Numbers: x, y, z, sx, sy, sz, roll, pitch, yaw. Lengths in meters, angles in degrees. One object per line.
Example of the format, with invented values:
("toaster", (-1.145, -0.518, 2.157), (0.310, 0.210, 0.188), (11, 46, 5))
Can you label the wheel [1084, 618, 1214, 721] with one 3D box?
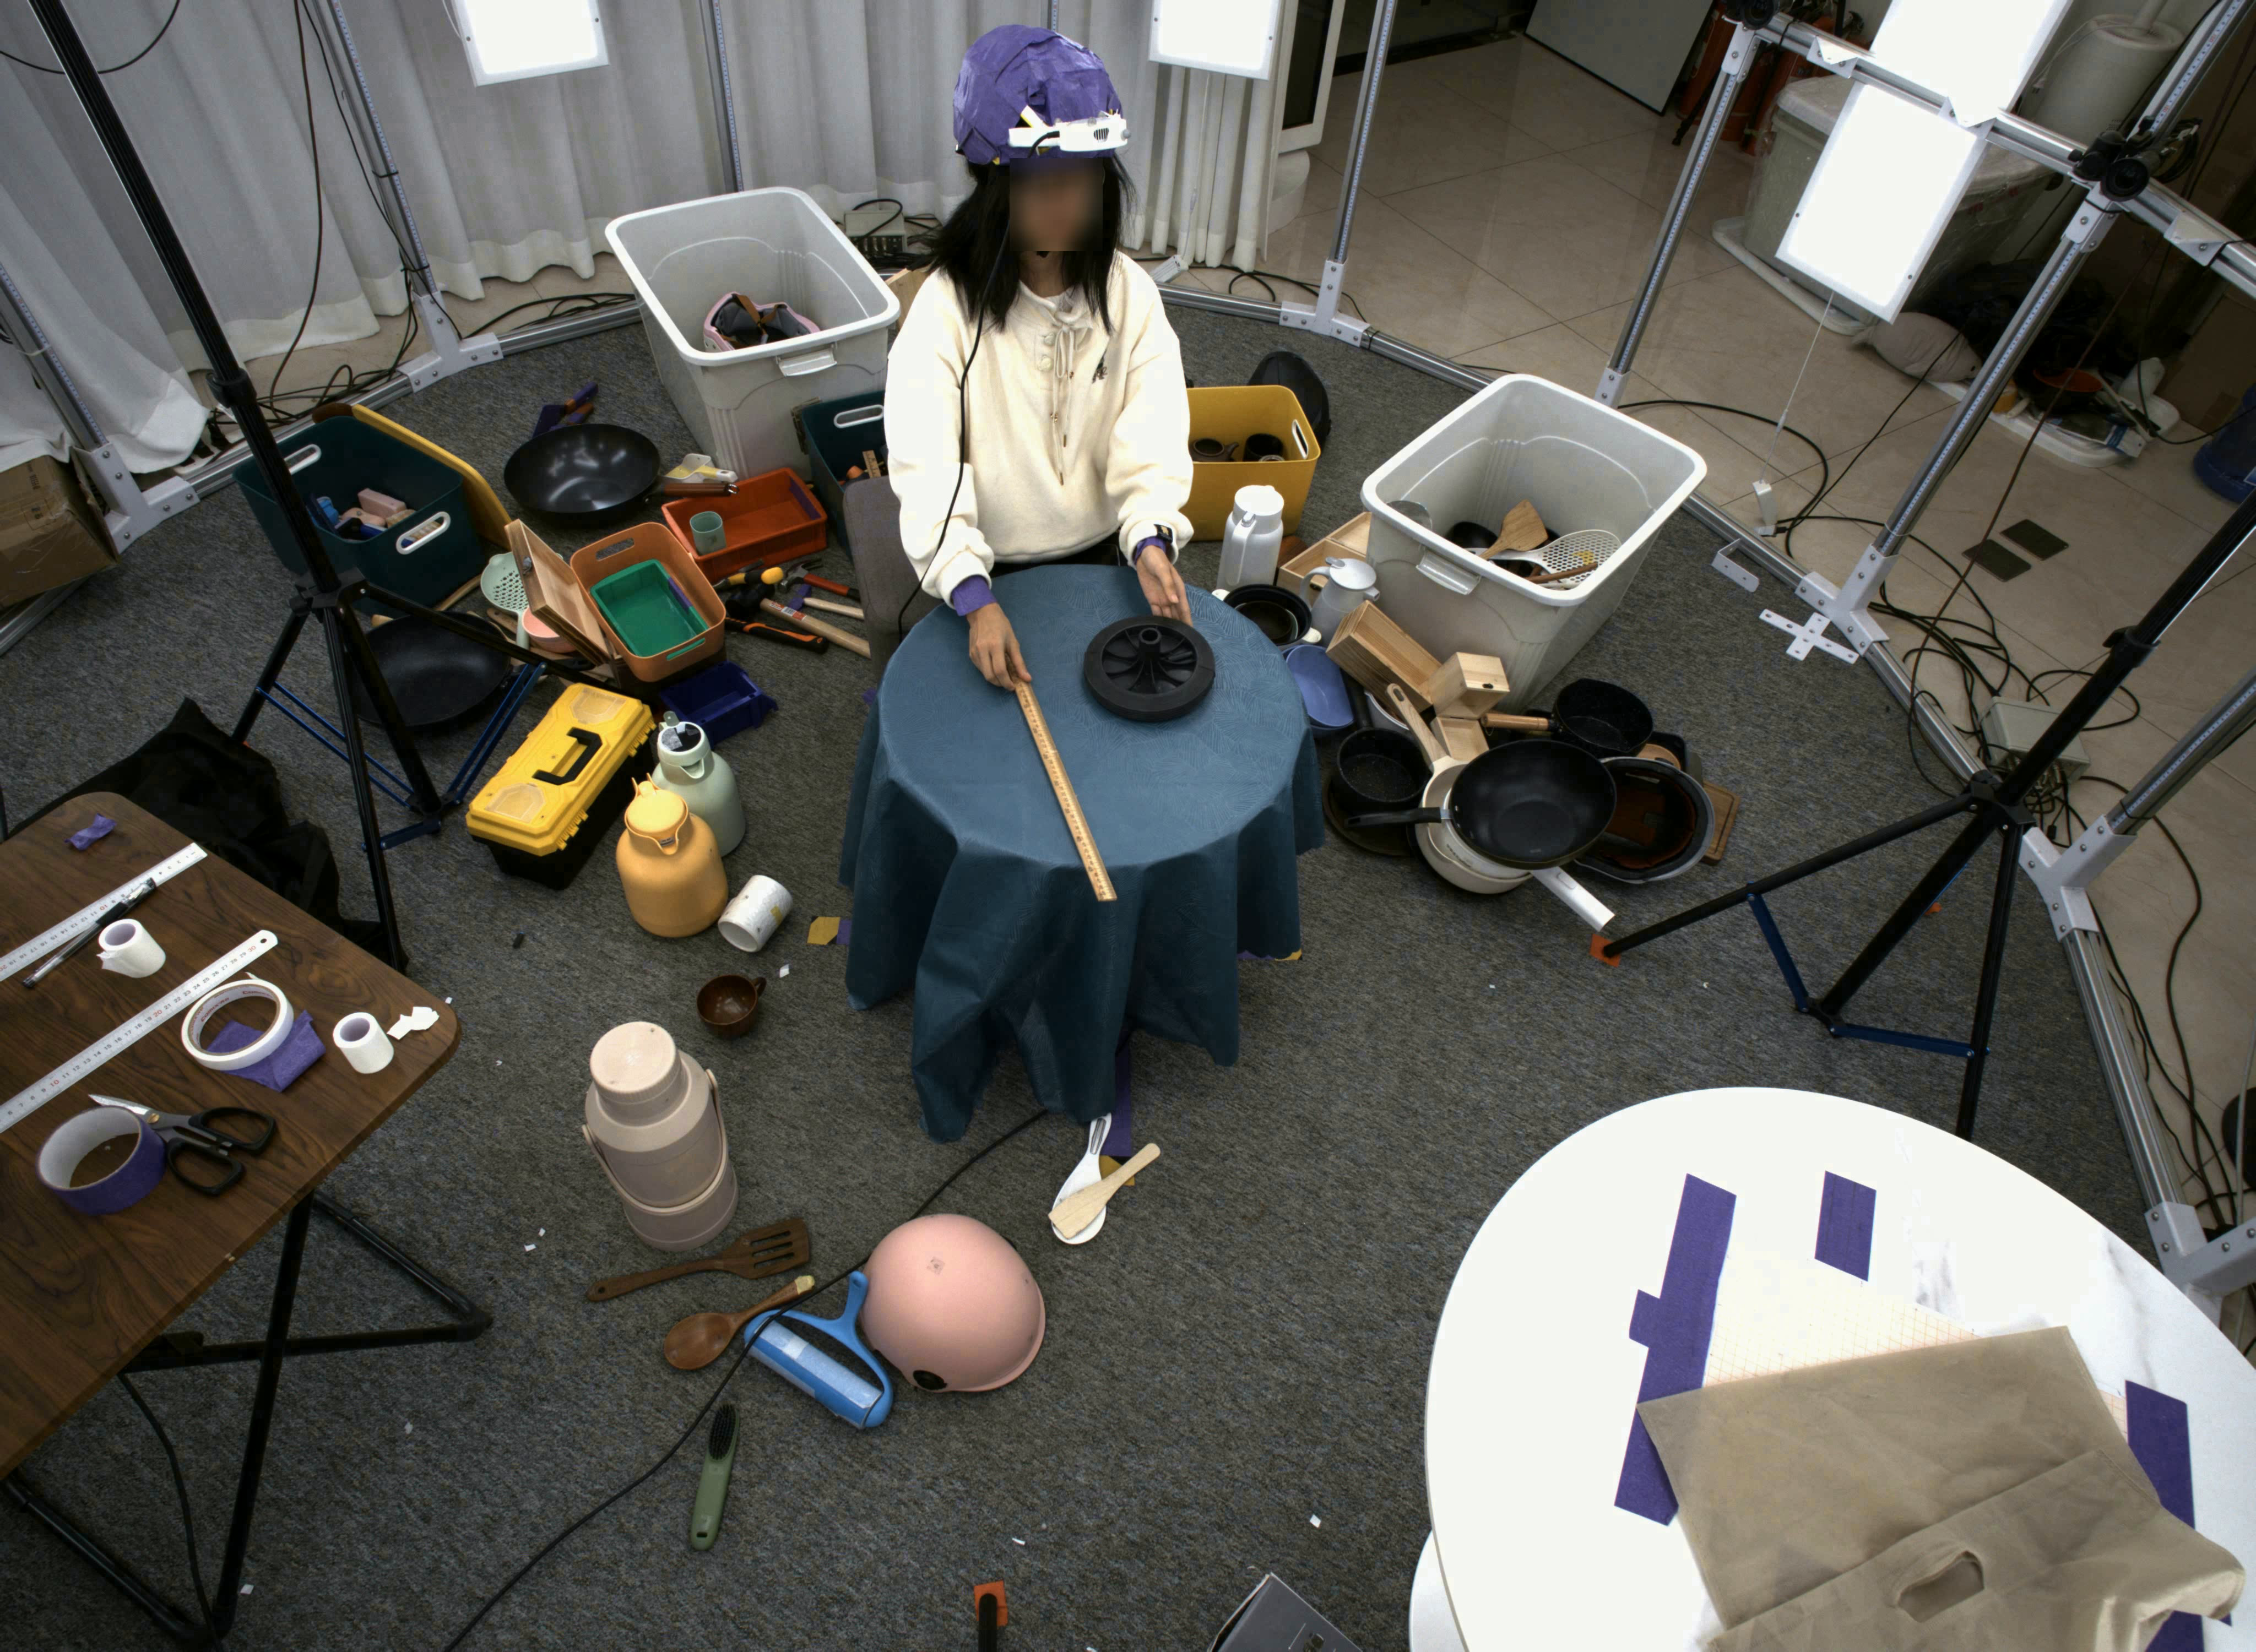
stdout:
("wheel", (0.031, -0.240, 1.828), (0.191, 0.077, 0.190), (-36, 60, -24))

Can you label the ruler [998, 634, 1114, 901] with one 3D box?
("ruler", (-0.105, -0.095, 1.737), (0.026, 0.006, 0.513), (1, 46, -27))
